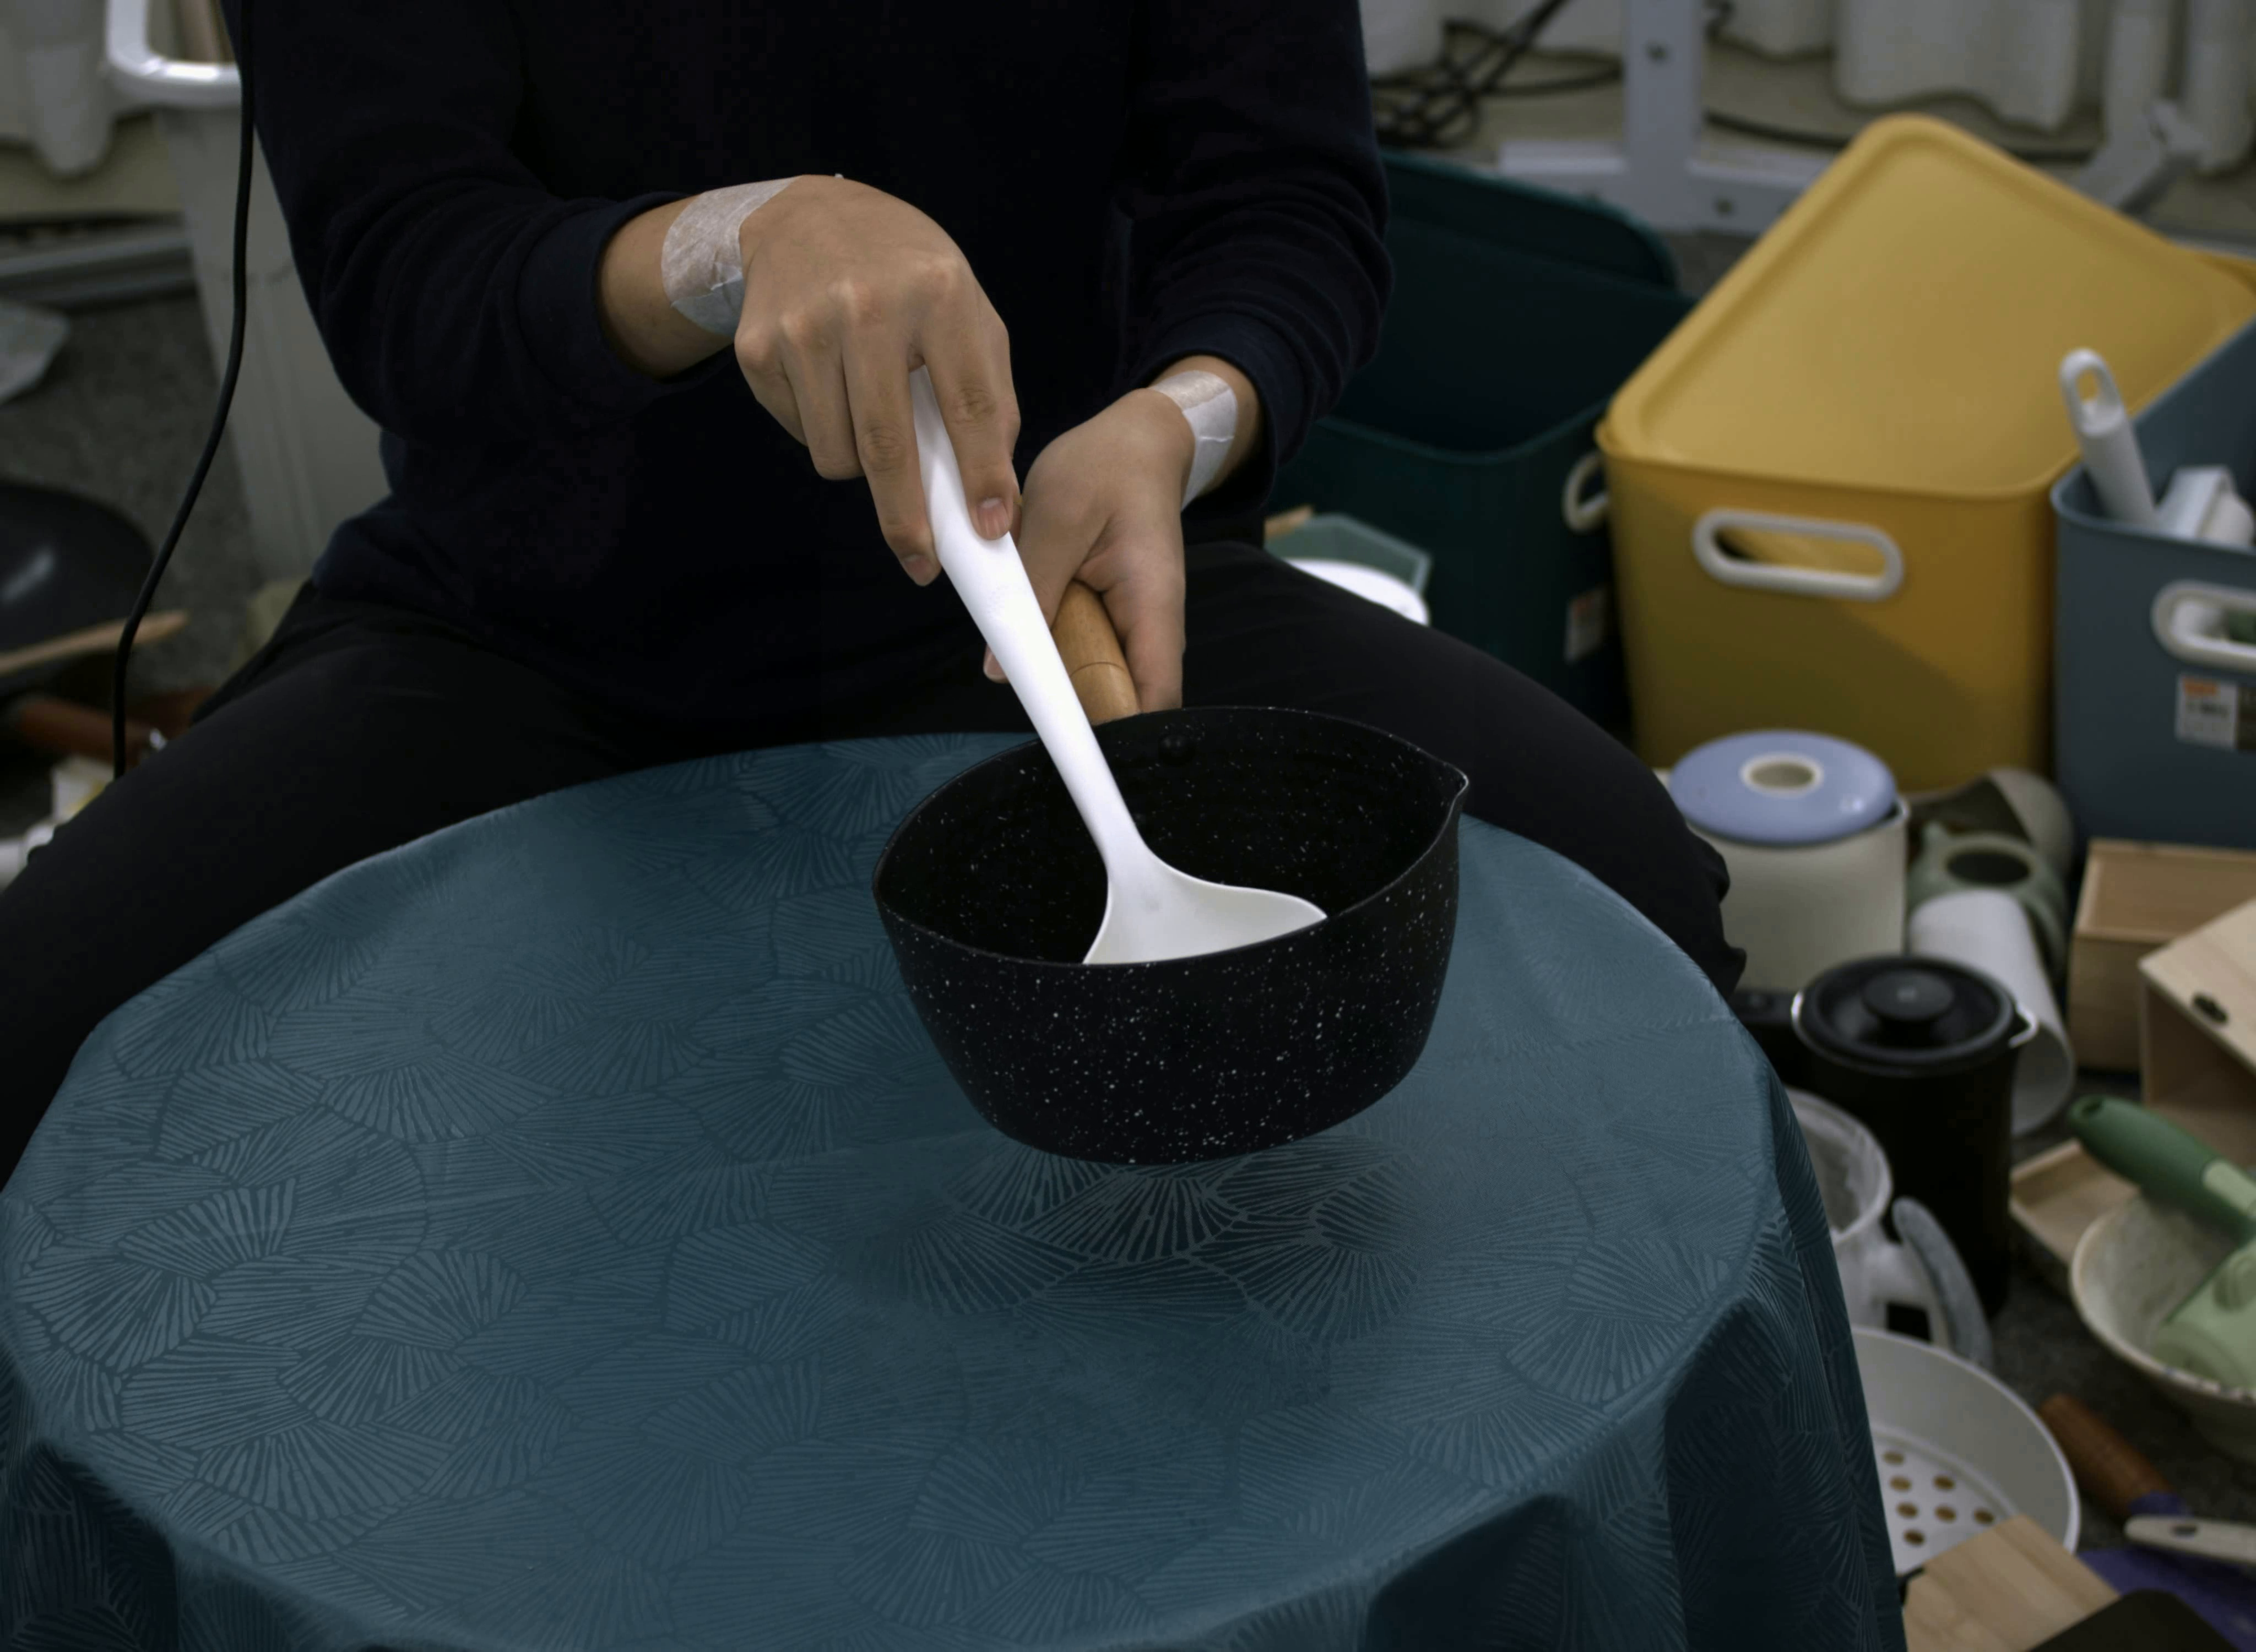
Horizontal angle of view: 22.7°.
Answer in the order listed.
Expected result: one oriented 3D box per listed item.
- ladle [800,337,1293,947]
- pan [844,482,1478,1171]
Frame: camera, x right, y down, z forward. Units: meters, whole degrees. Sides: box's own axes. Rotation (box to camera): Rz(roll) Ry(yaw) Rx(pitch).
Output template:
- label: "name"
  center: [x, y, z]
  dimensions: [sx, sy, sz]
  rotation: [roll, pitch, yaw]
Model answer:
- label: "ladle"
  center: [-0.035, -0.044, 1.859]
  dimensions: [0.090, 0.069, 0.296]
  rotation: [-27, 70, -4]
- label: "pan"
  center: [0.001, -0.005, 1.885]
  dimensions: [0.207, 0.107, 0.346]
  rotation: [-12, 26, -7]
